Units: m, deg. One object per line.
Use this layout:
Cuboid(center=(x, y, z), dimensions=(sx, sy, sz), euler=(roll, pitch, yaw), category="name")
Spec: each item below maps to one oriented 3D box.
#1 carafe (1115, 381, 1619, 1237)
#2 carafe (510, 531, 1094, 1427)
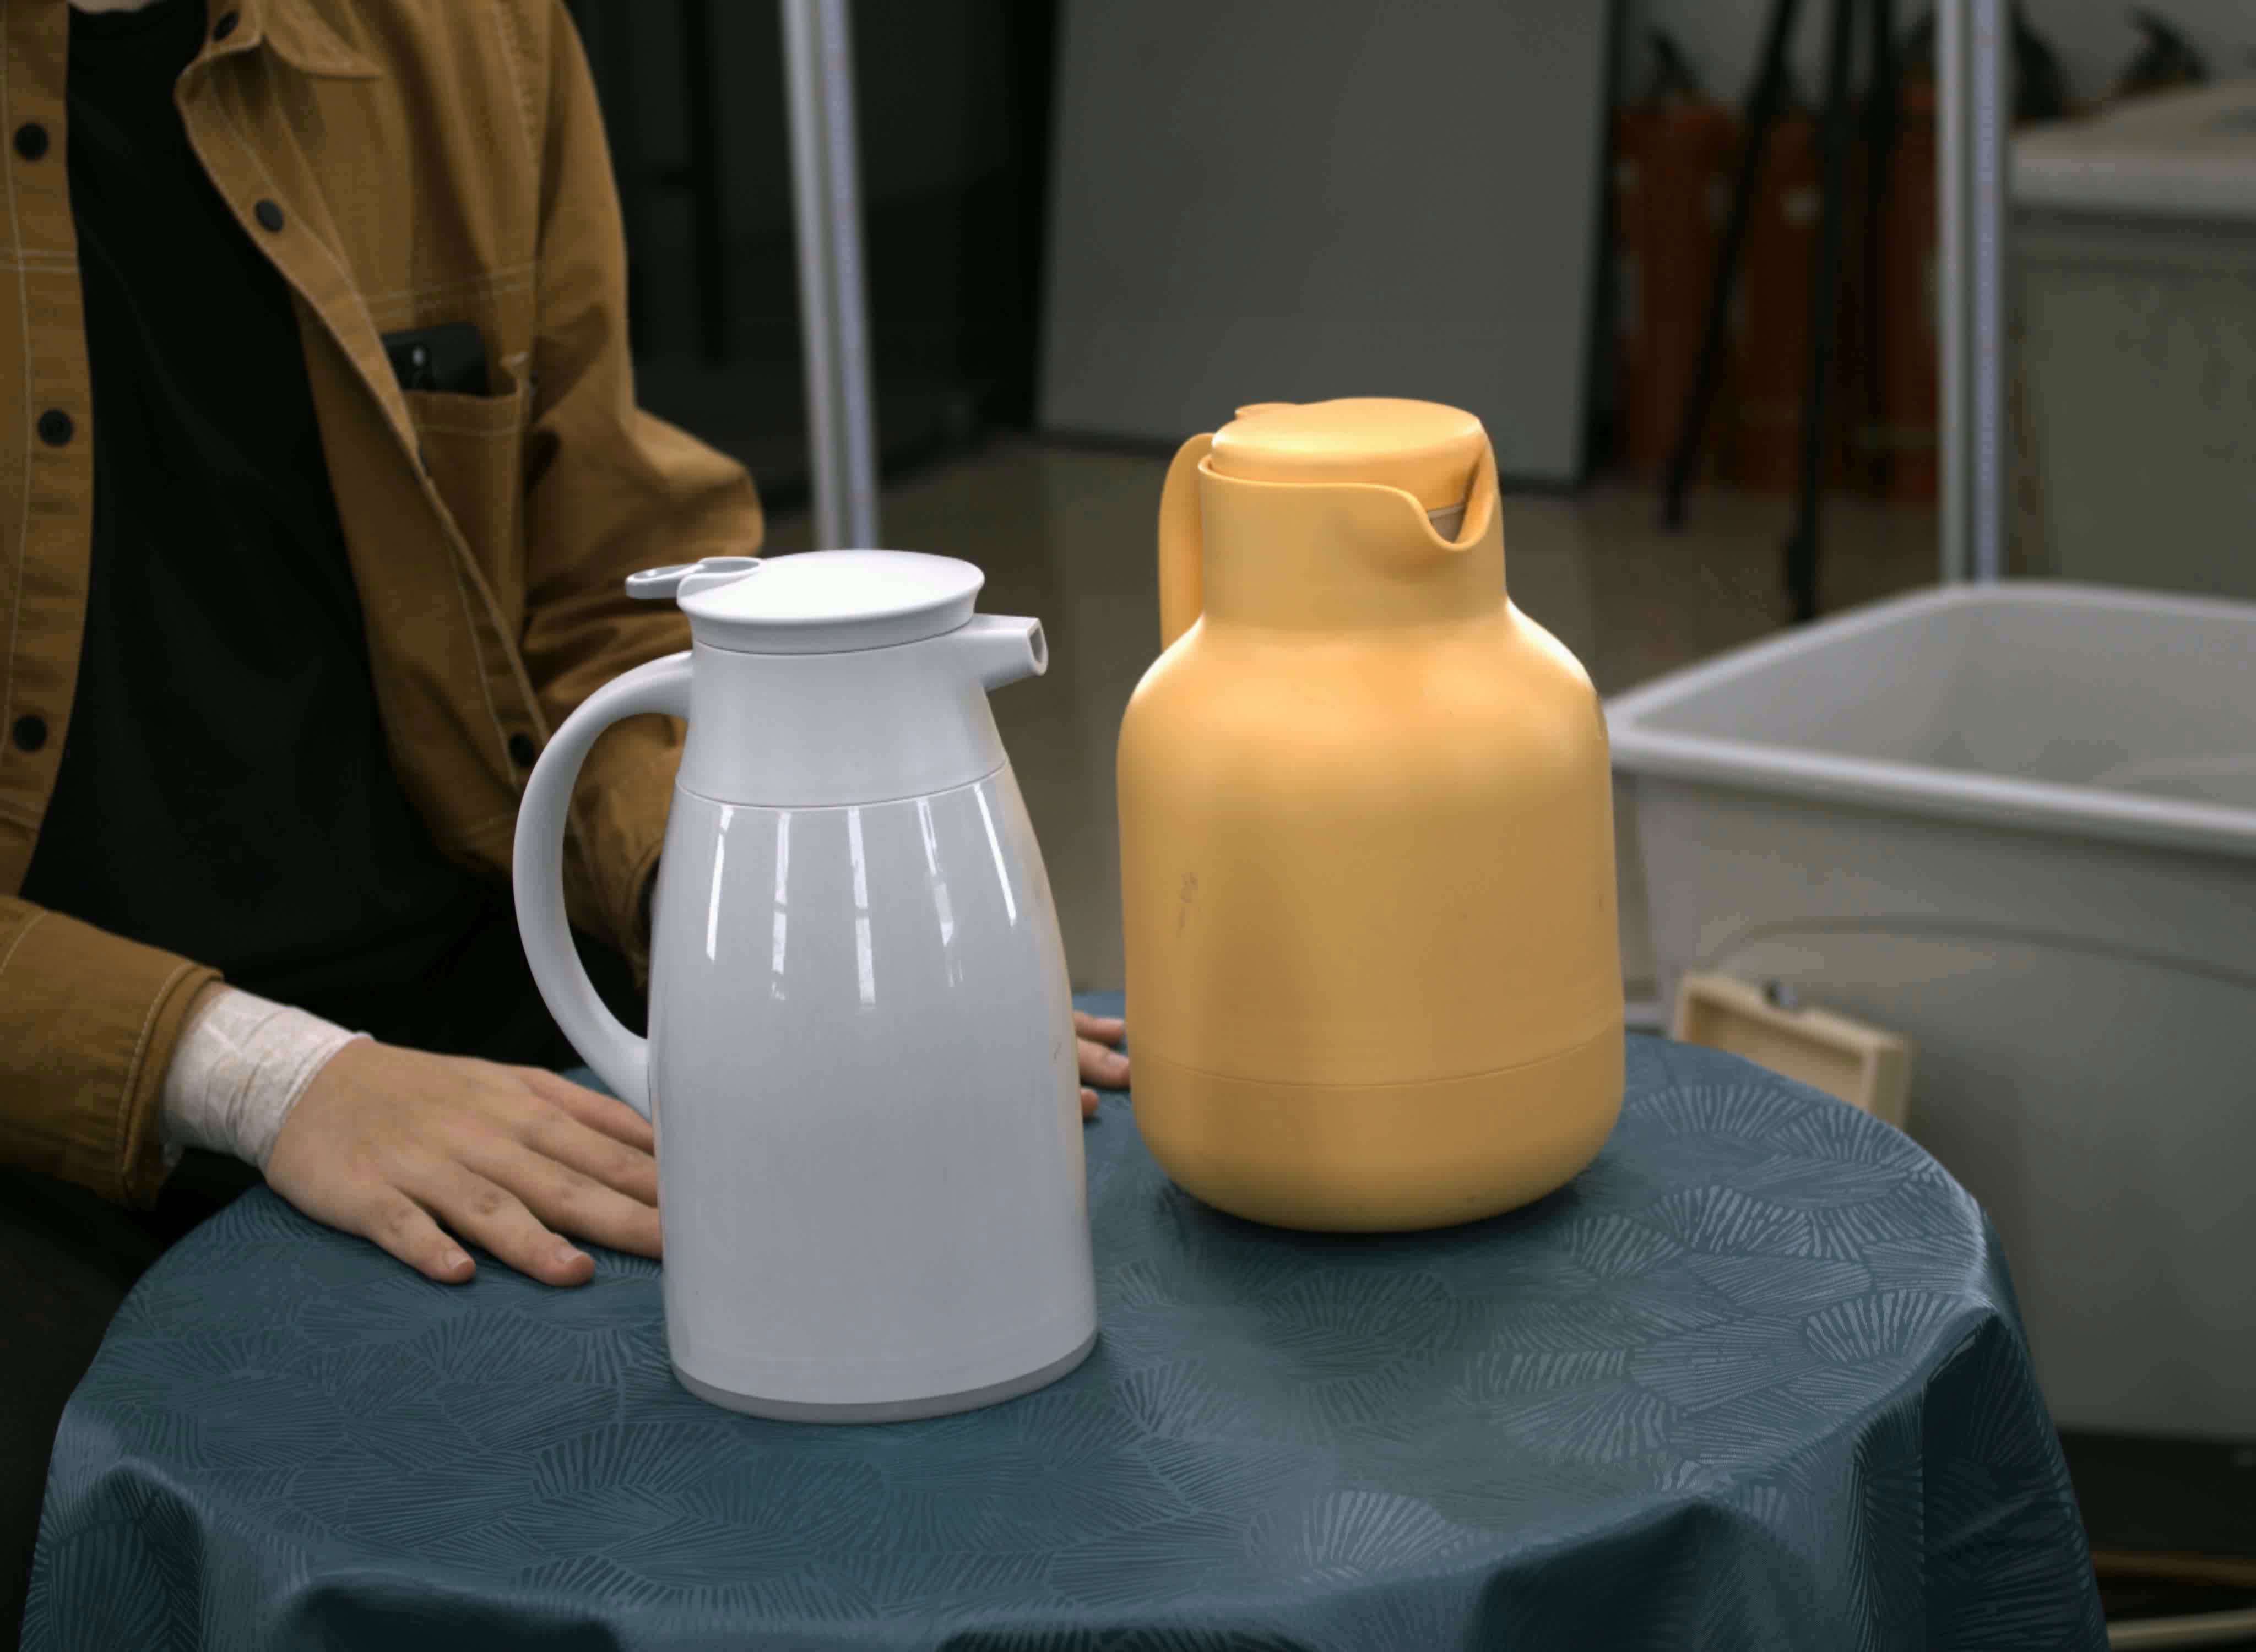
Cuboid(center=(0.069, -0.013, 1.753), dimensions=(0.160, 0.263, 0.204), euler=(-8, 15, -21), category="carafe")
Cuboid(center=(-0.101, 0.040, 1.614), dimensions=(0.166, 0.251, 0.132), euler=(-2, 13, 12), category="carafe")
